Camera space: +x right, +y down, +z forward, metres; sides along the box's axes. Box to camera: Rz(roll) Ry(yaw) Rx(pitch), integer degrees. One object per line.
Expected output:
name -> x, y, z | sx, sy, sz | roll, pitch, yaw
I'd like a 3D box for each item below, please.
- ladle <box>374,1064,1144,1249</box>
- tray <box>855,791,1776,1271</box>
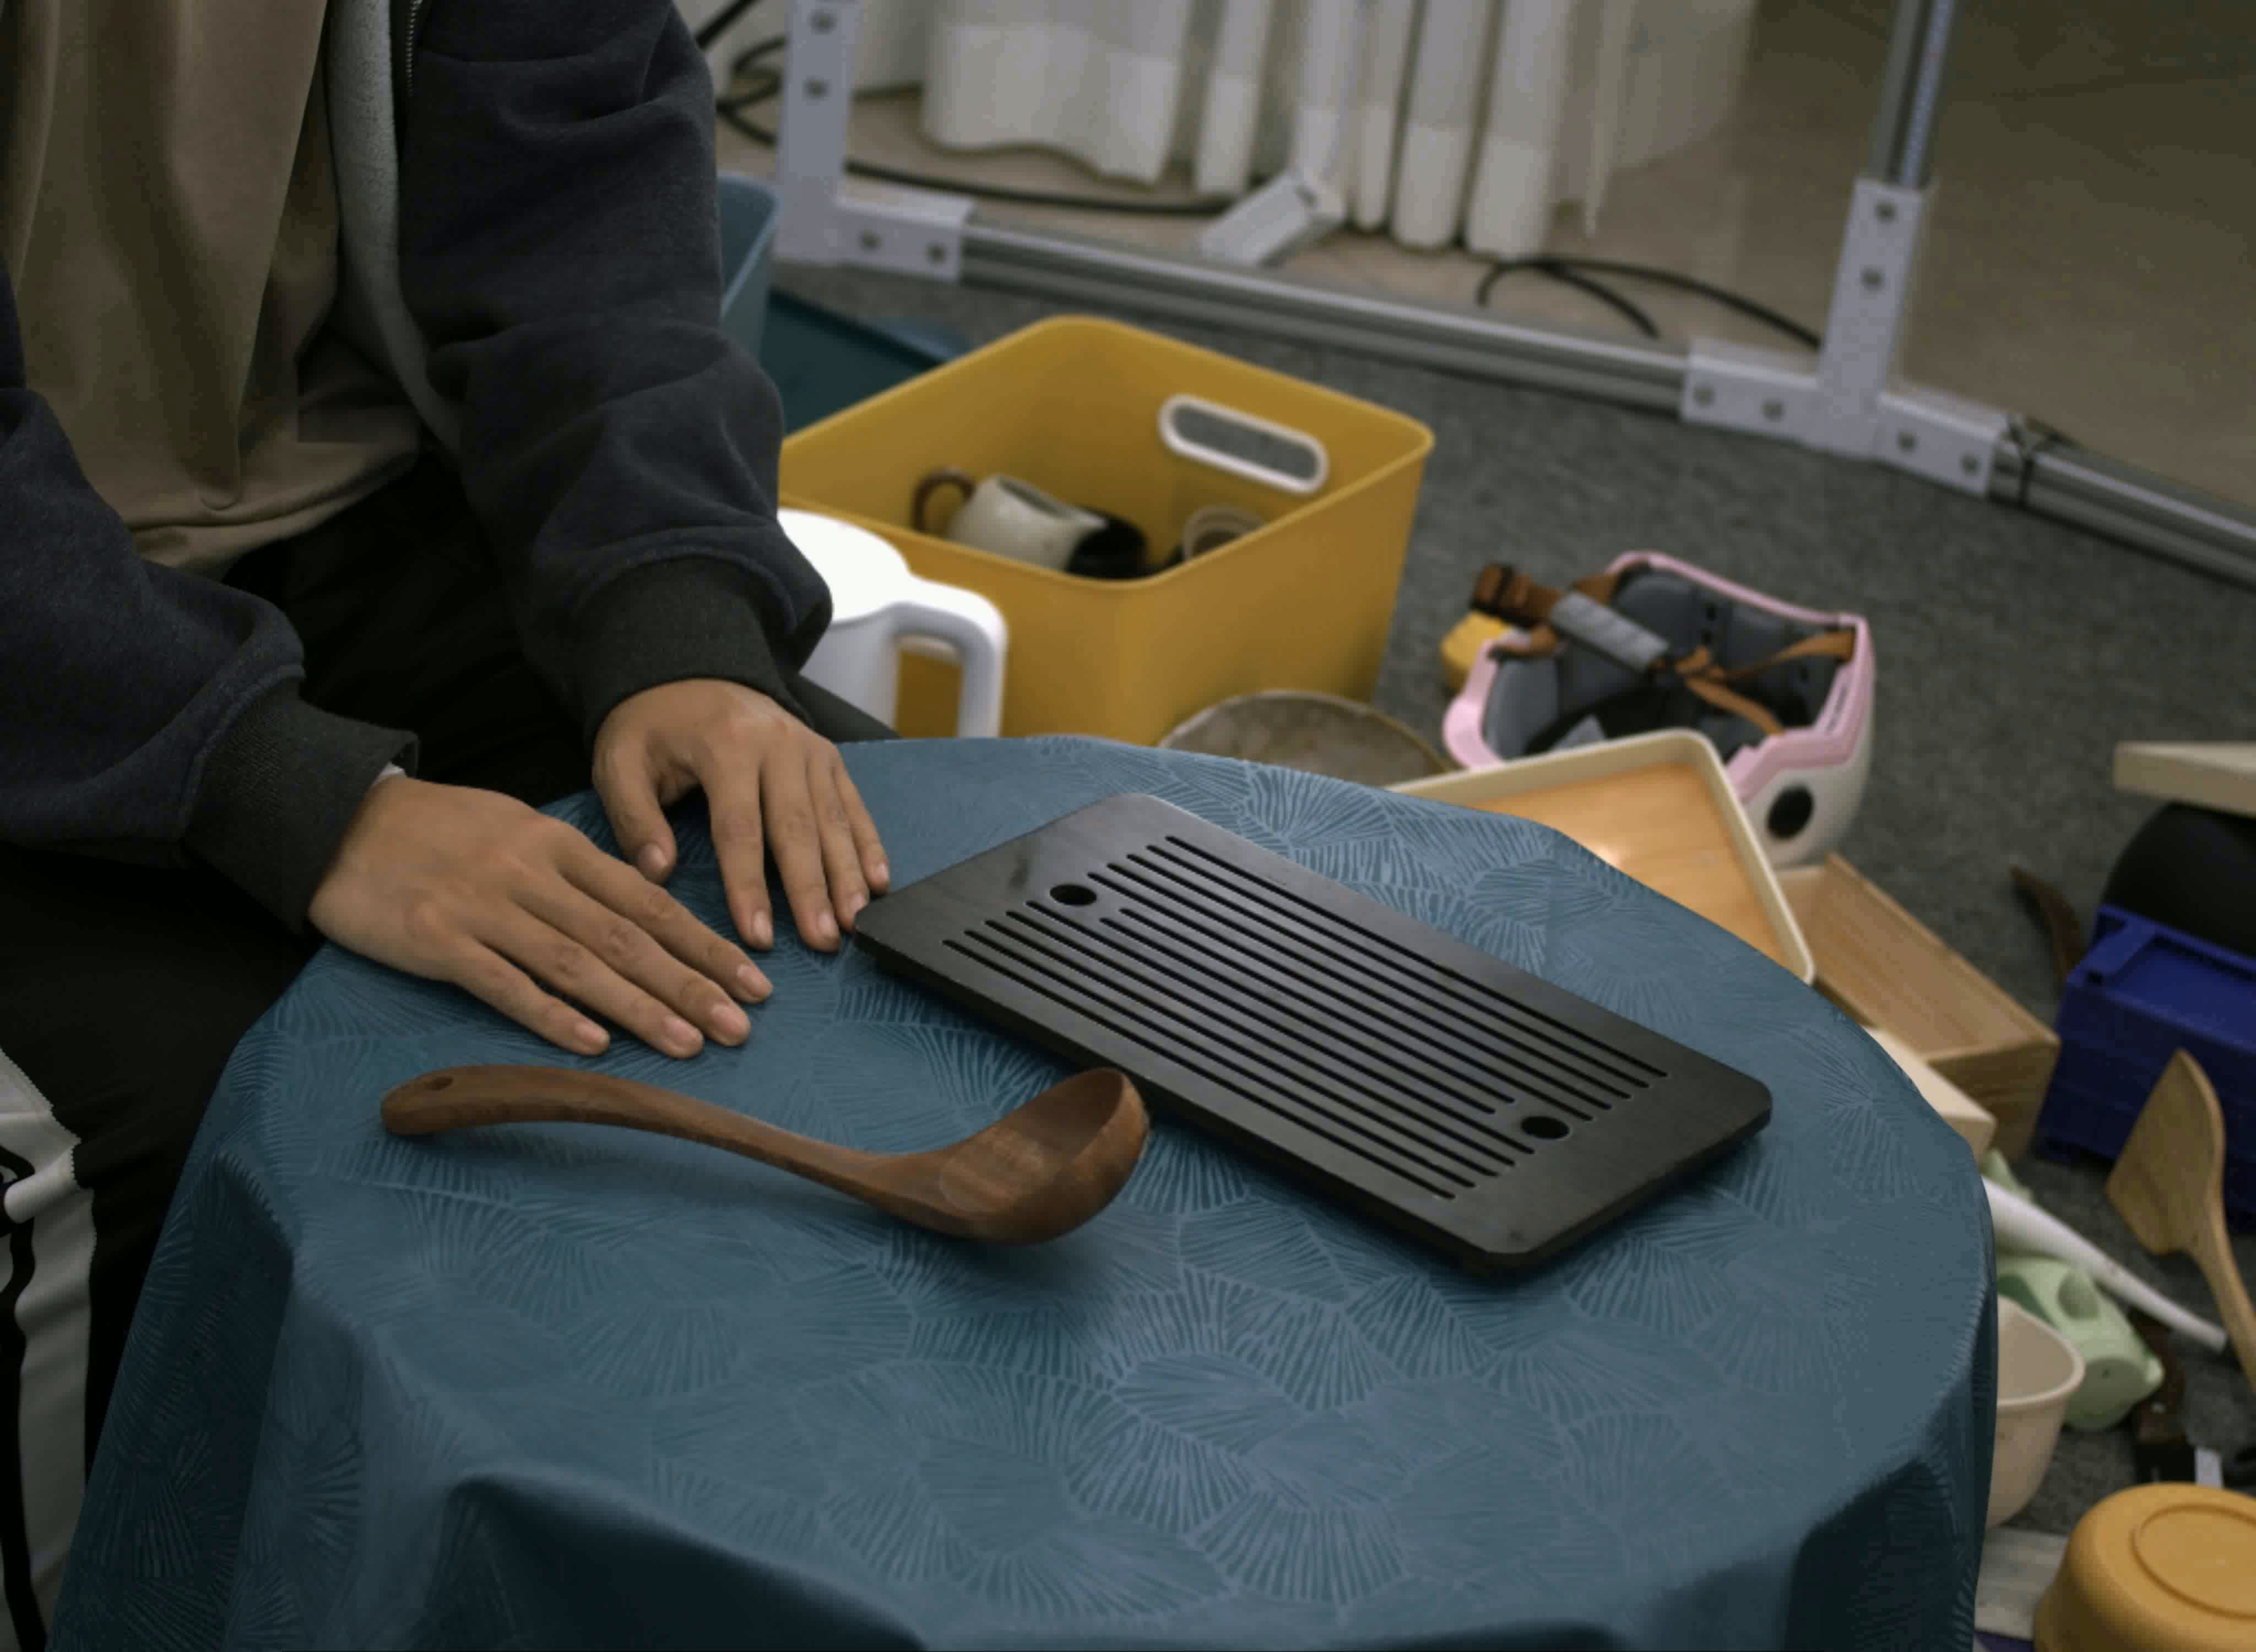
ladle -> -0.123, 0.093, 1.762 | 0.260, 0.065, 0.077 | 10, 26, 7
tray -> 0.064, 0.070, 1.901 | 0.308, 0.018, 0.169 | 26, 32, 33
